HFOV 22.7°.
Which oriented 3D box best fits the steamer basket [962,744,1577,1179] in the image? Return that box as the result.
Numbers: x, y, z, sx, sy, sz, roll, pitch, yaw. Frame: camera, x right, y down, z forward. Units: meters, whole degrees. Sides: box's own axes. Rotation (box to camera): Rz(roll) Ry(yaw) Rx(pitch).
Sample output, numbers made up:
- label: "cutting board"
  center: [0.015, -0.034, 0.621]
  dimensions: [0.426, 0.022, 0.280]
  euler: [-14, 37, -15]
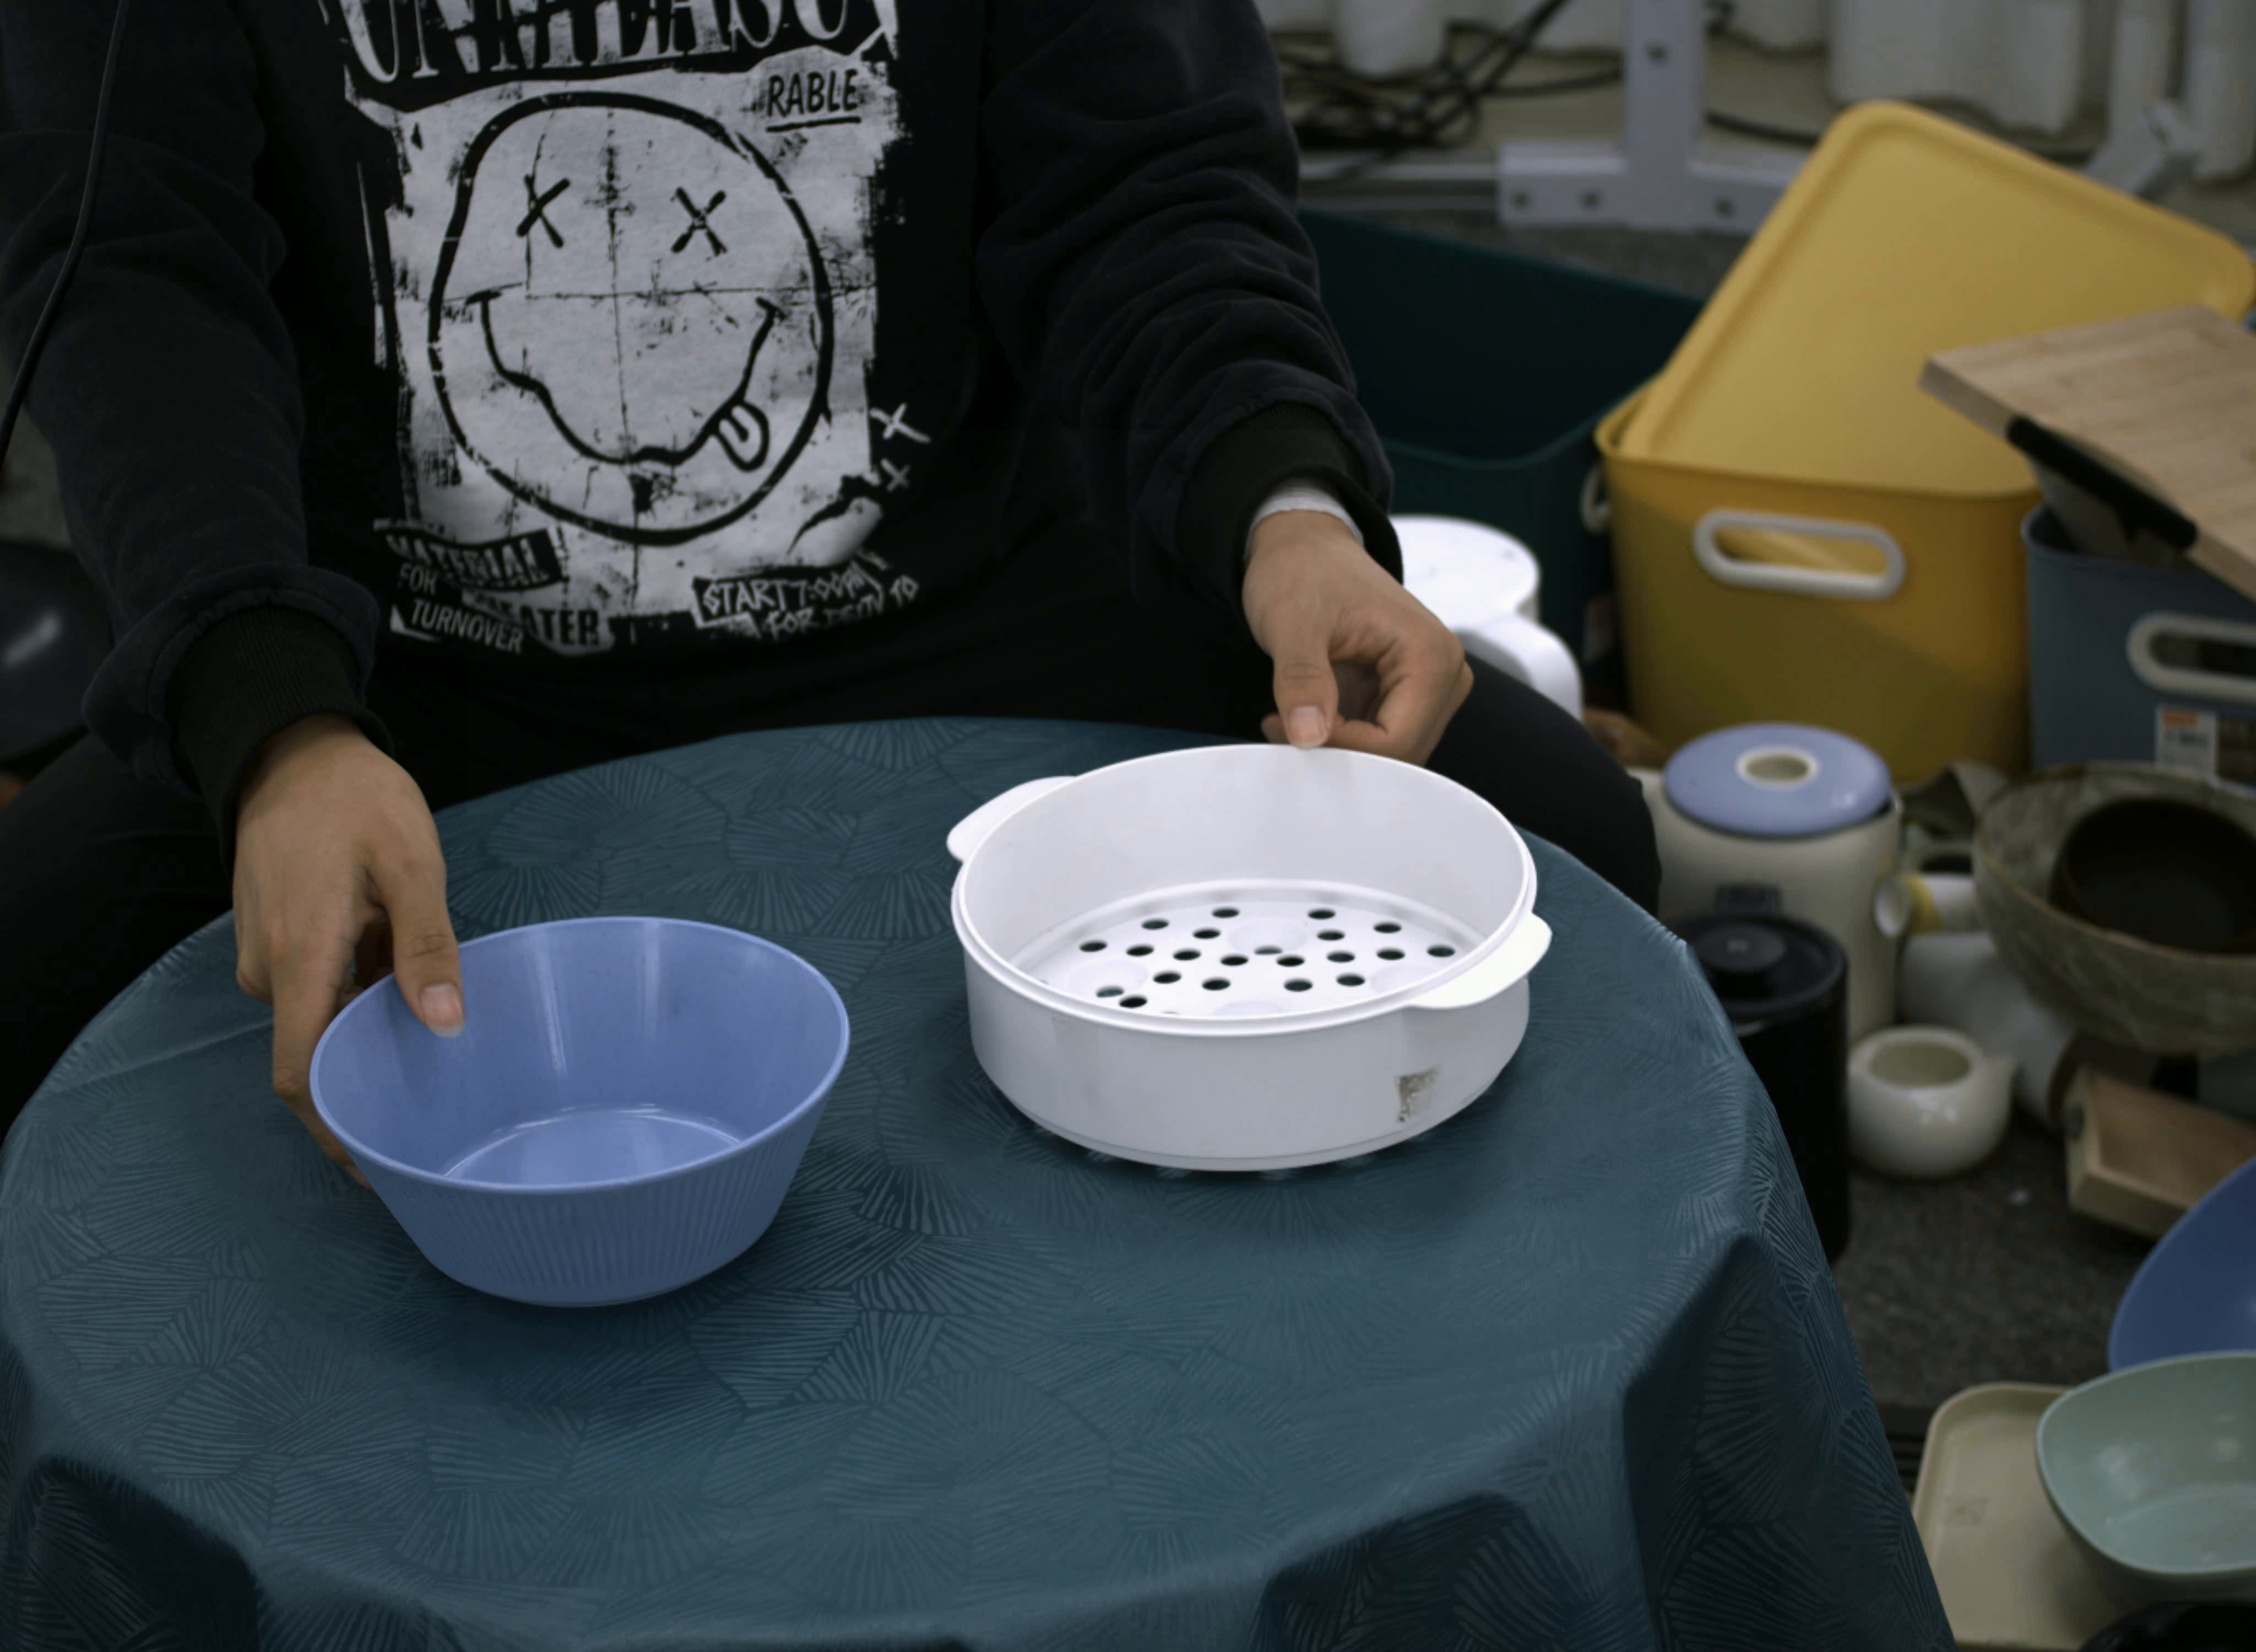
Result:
- label: "steamer basket"
  center: [0.047, 0.047, 1.927]
  dimensions: [0.230, 0.068, 0.205]
  euler: [19, 34, 32]

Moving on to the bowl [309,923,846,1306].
- label: "bowl"
  center: [-0.178, 0.101, 1.843]
  dimensions: [0.175, 0.069, 0.179]
  euler: [-1, 27, 1]
